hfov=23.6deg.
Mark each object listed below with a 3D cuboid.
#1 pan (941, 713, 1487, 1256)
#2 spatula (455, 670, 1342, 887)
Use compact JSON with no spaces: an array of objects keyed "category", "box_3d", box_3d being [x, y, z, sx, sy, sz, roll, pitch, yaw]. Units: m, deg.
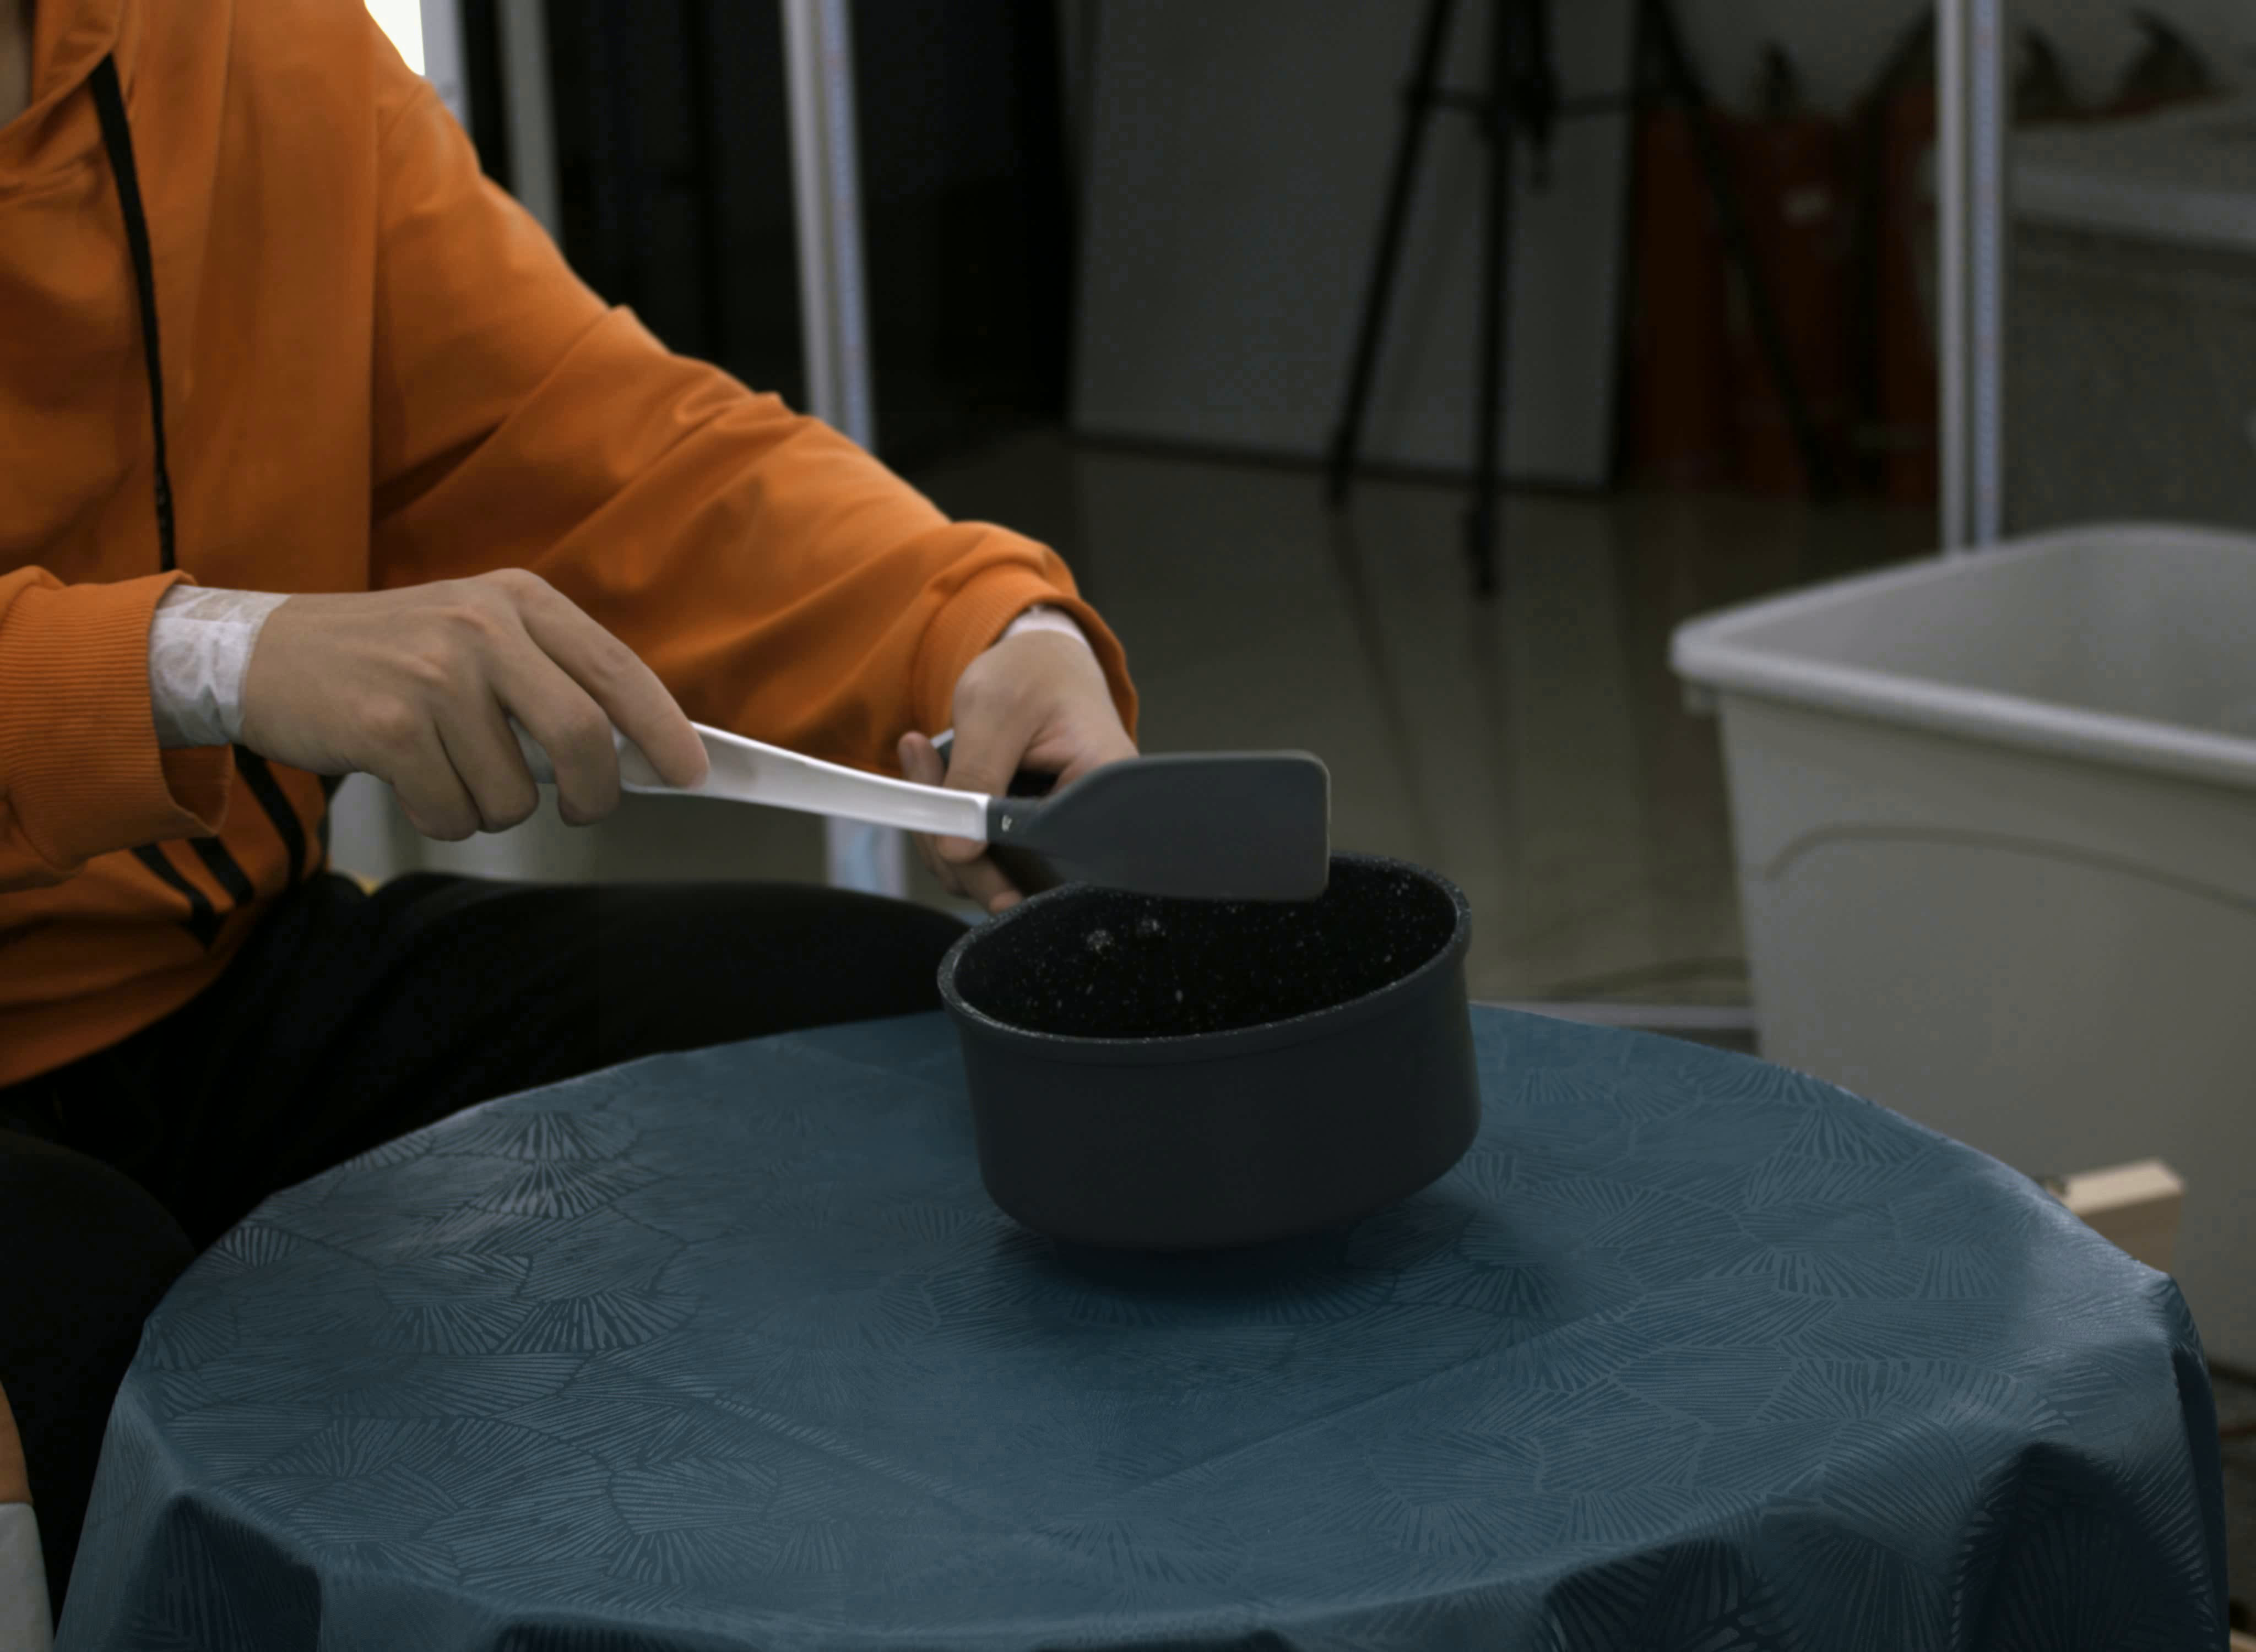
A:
[{"category":"pan","box_3d":[0.004,0.047,1.782,0.169,0.087,0.331,-12,19,-14]},{"category":"spatula","box_3d":[-0.073,-0.017,1.694,0.286,0.059,0.032,7,25,15]}]
